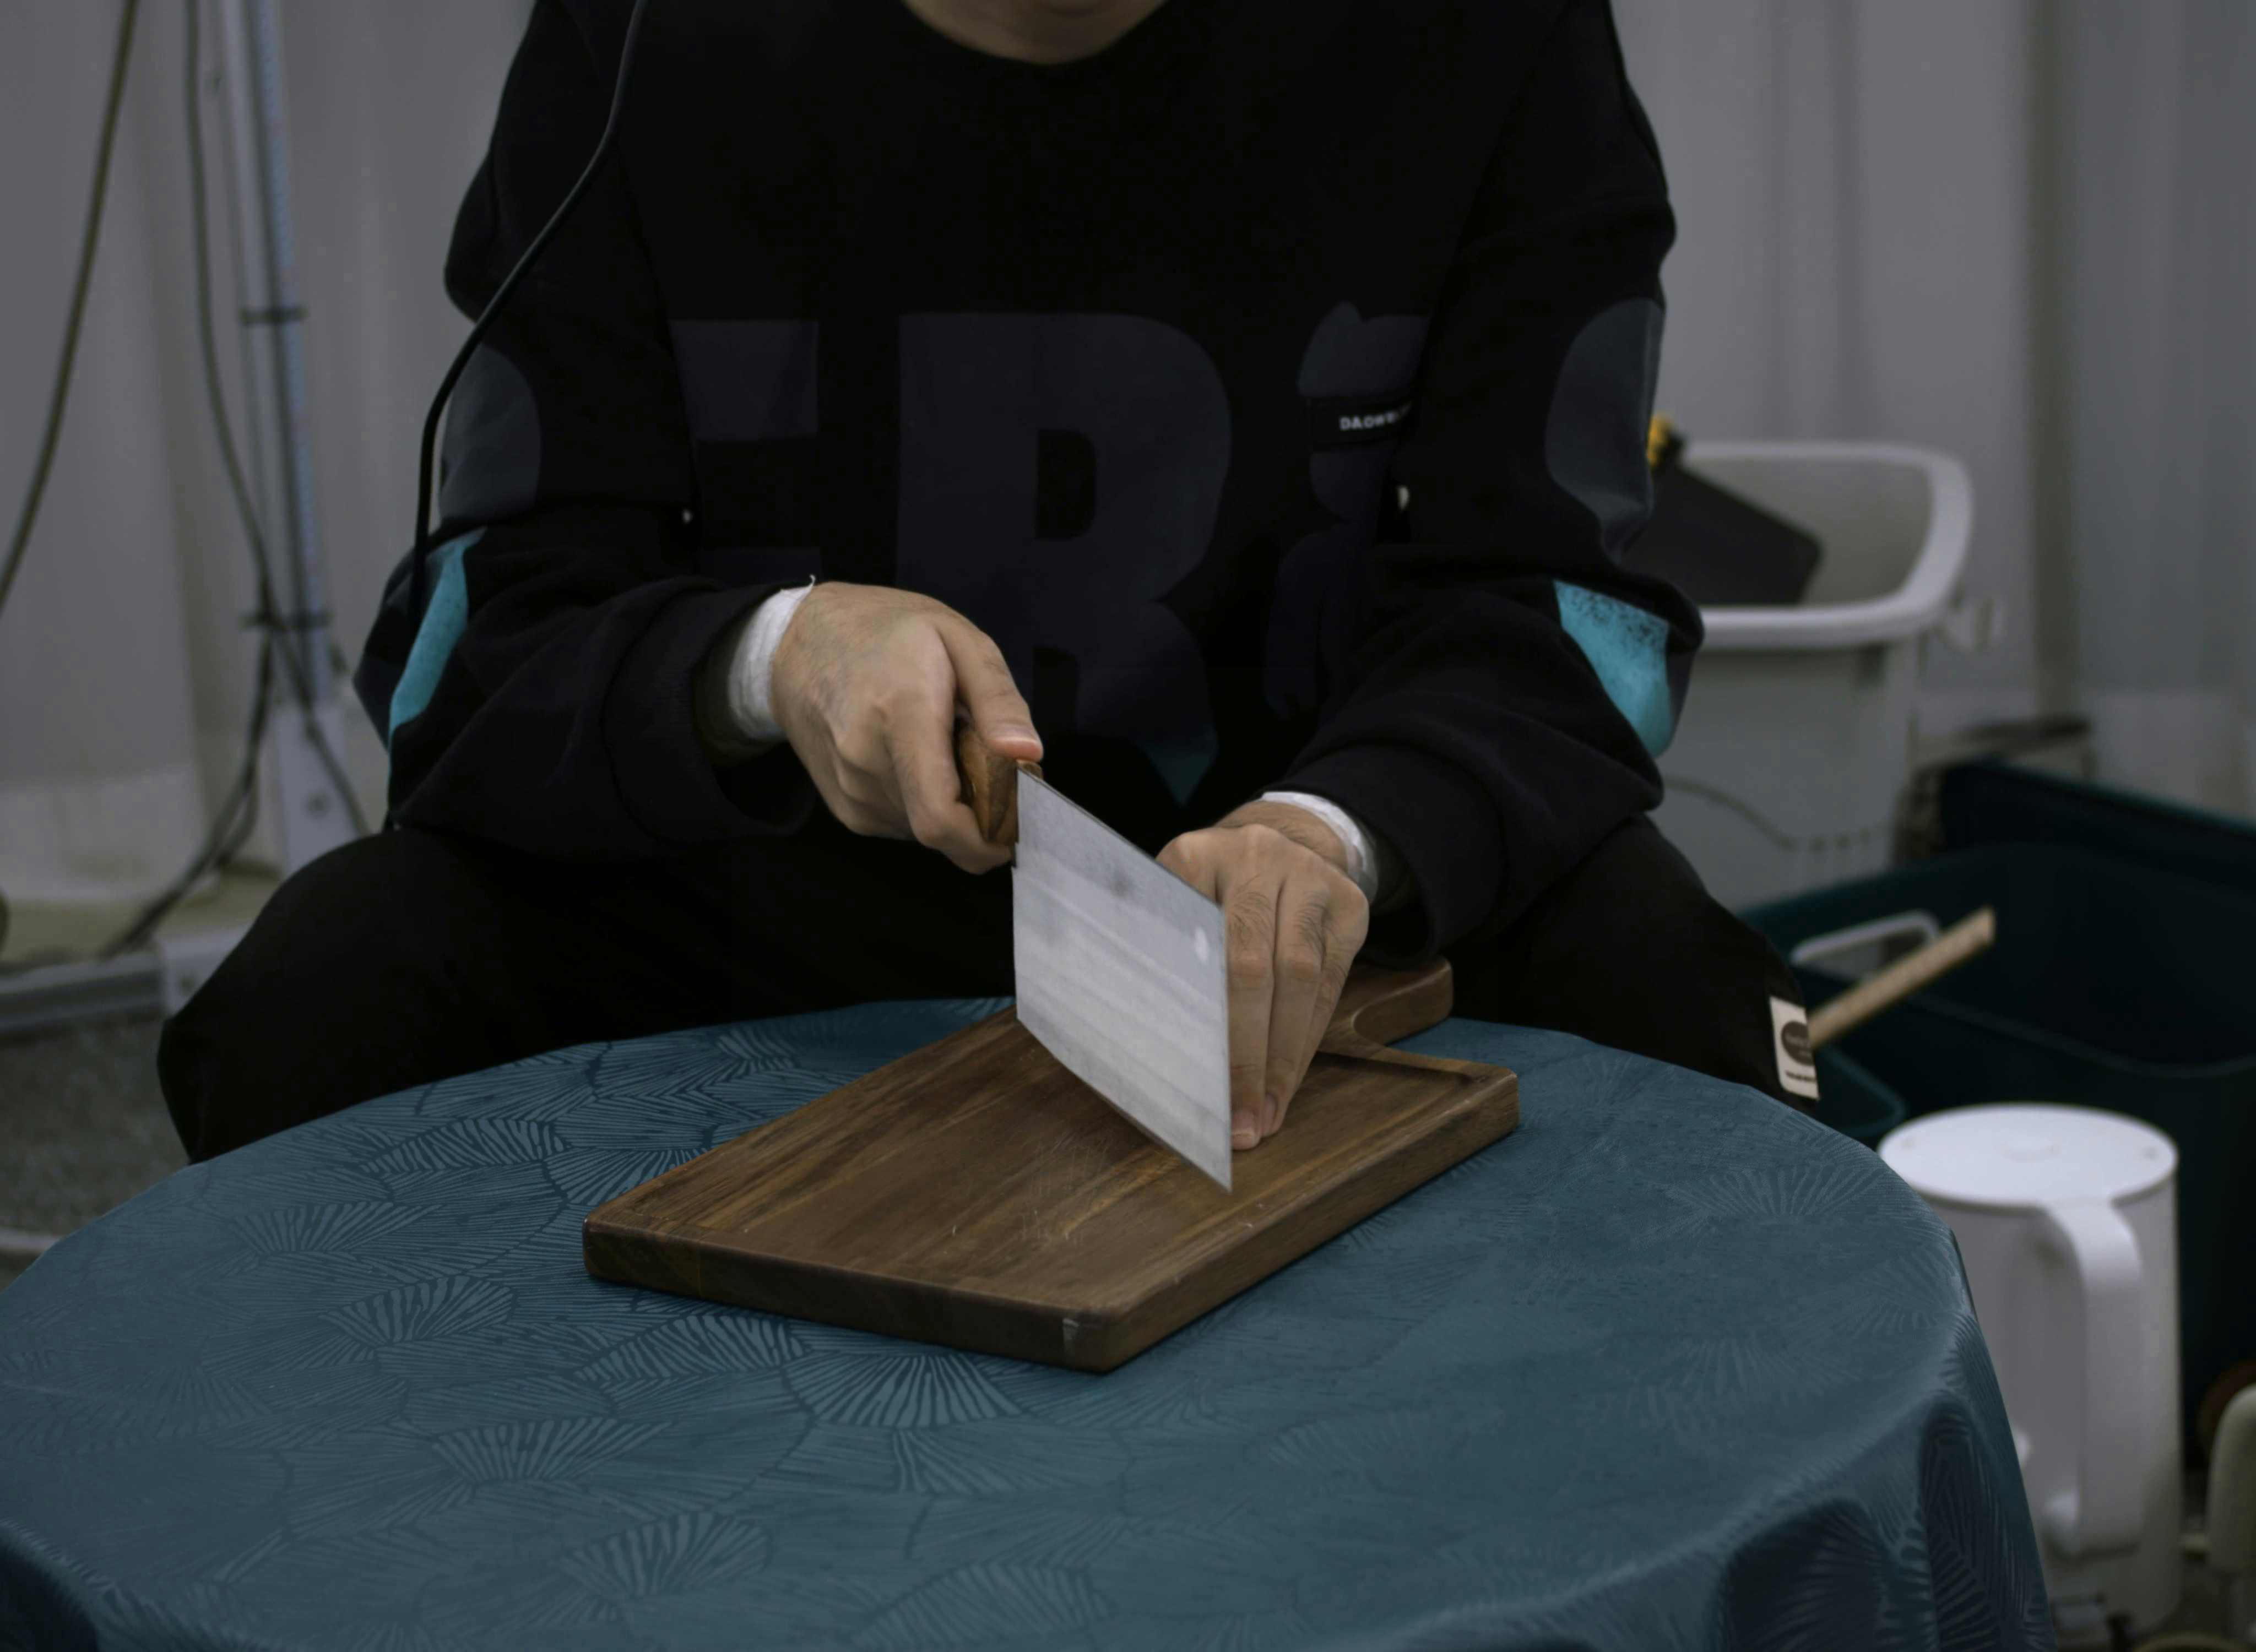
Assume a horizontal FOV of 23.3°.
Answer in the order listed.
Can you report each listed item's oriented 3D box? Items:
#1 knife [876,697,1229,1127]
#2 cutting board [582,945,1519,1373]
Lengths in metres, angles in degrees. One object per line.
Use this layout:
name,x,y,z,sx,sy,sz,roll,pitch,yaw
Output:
knife,-0.025,0.027,1.748,0.021,0.092,0.308,-7,15,-19
cutting board,0.006,0.095,1.745,0.201,0.023,0.352,7,18,32
